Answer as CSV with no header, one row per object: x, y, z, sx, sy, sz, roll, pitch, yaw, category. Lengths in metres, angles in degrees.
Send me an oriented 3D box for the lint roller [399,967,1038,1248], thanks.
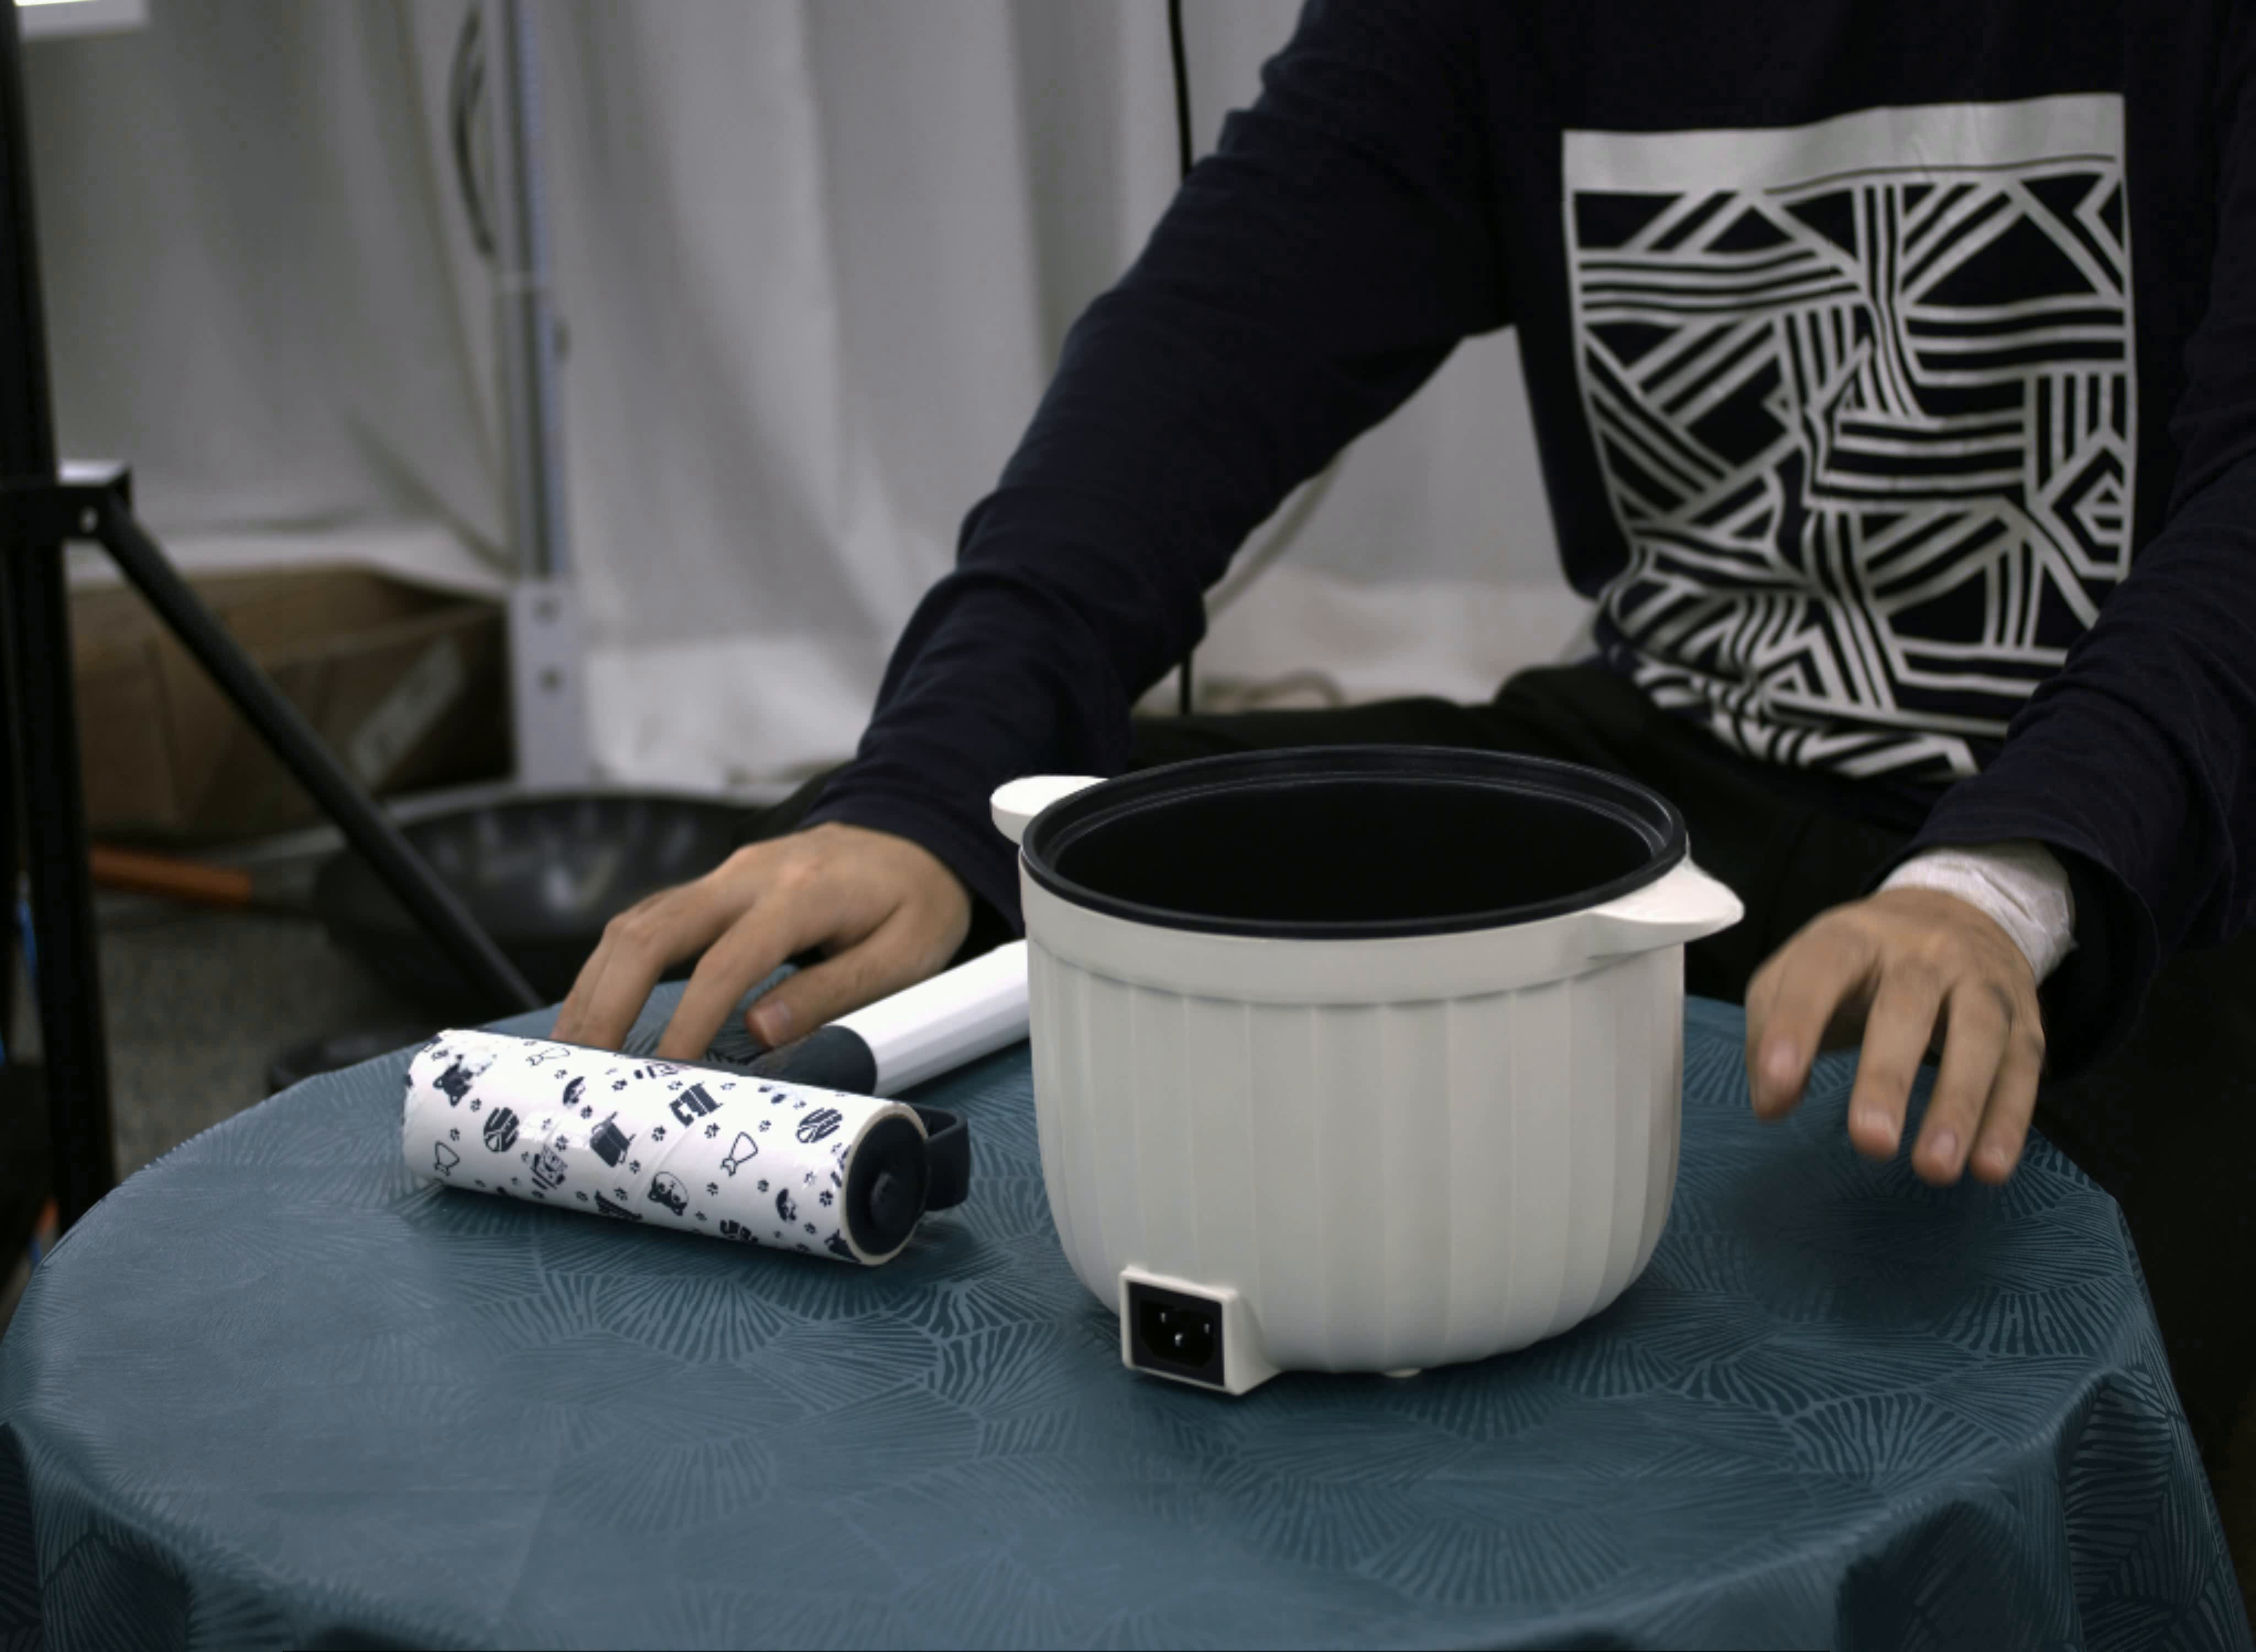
-0.084,0.070,1.635,0.179,0.050,0.242,6,15,31,lint roller

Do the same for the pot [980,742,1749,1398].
0.064,0.064,1.455,0.245,0.142,0.187,11,22,36,pot
